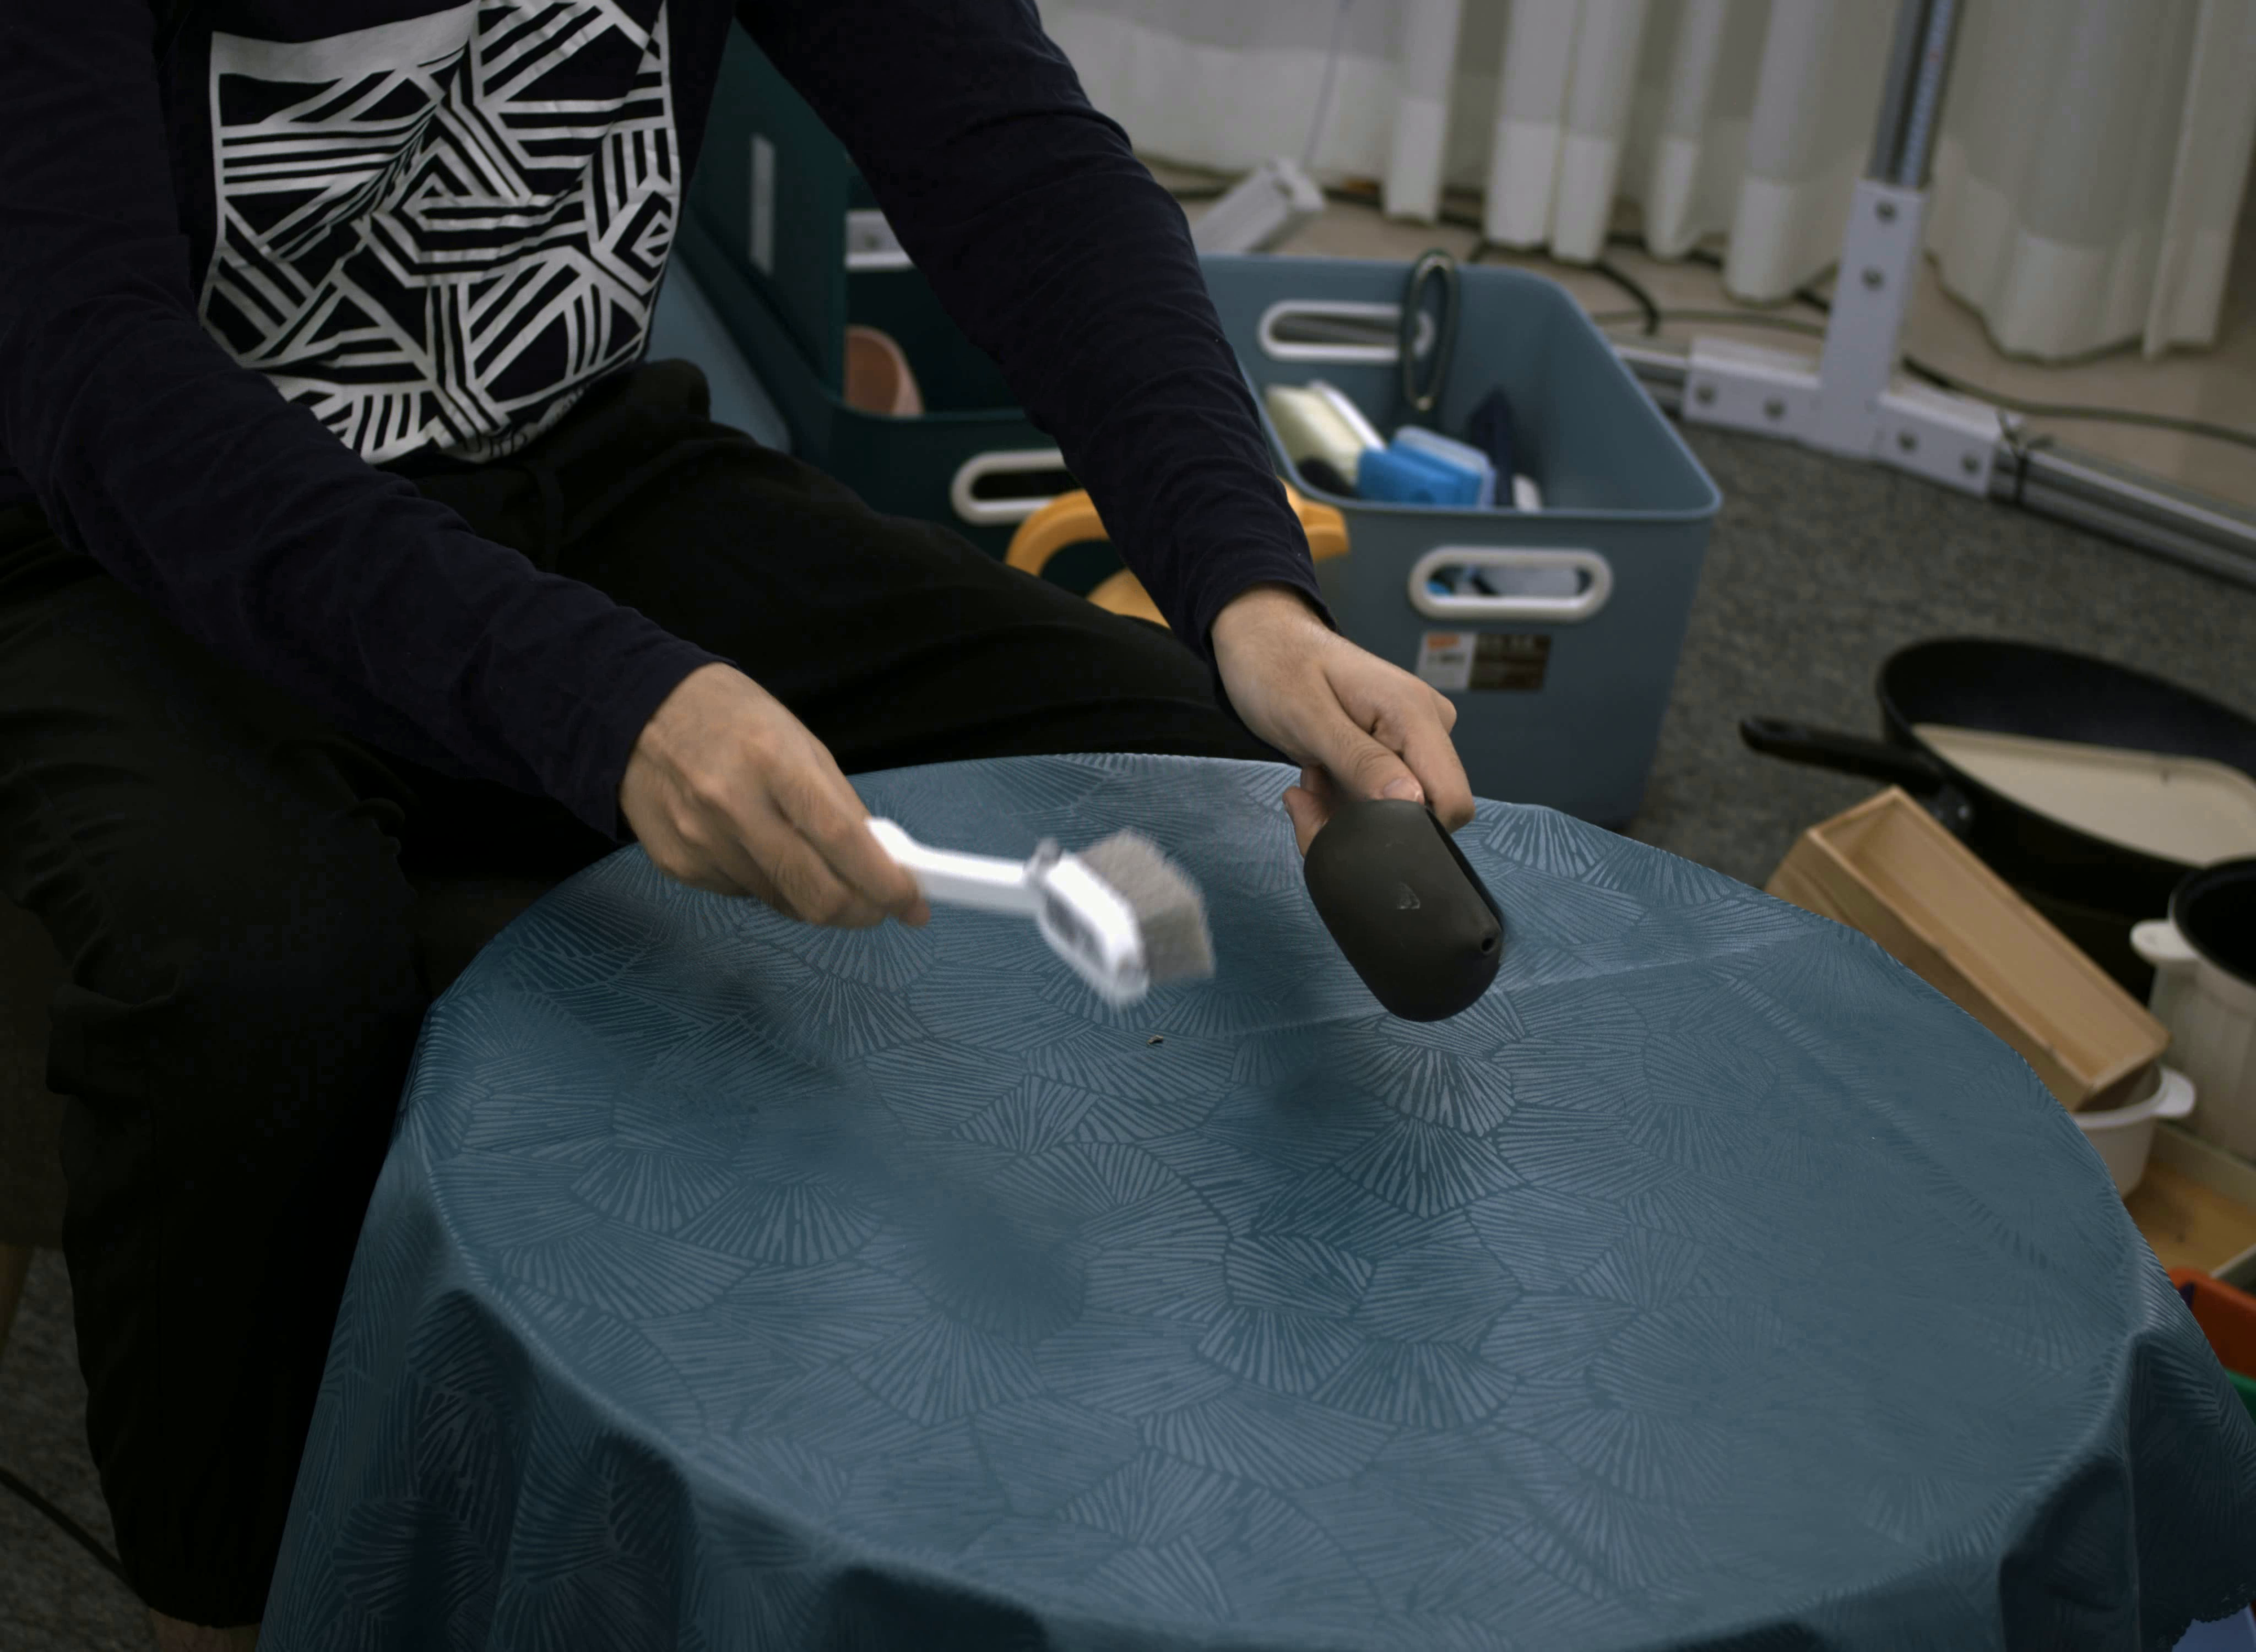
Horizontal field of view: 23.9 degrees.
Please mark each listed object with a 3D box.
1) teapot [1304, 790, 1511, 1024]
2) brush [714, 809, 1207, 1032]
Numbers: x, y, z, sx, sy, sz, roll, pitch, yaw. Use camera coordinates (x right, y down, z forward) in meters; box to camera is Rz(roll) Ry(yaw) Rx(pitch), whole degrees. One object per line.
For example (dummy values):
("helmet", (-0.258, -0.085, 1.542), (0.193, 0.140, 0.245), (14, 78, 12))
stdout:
("teapot", (0.096, 0.022, 1.876), (0.053, 0.082, 0.115), (-35, 32, 9))
("brush", (-0.058, 0.017, 1.829), (0.050, 0.034, 0.245), (-43, 36, -21))
